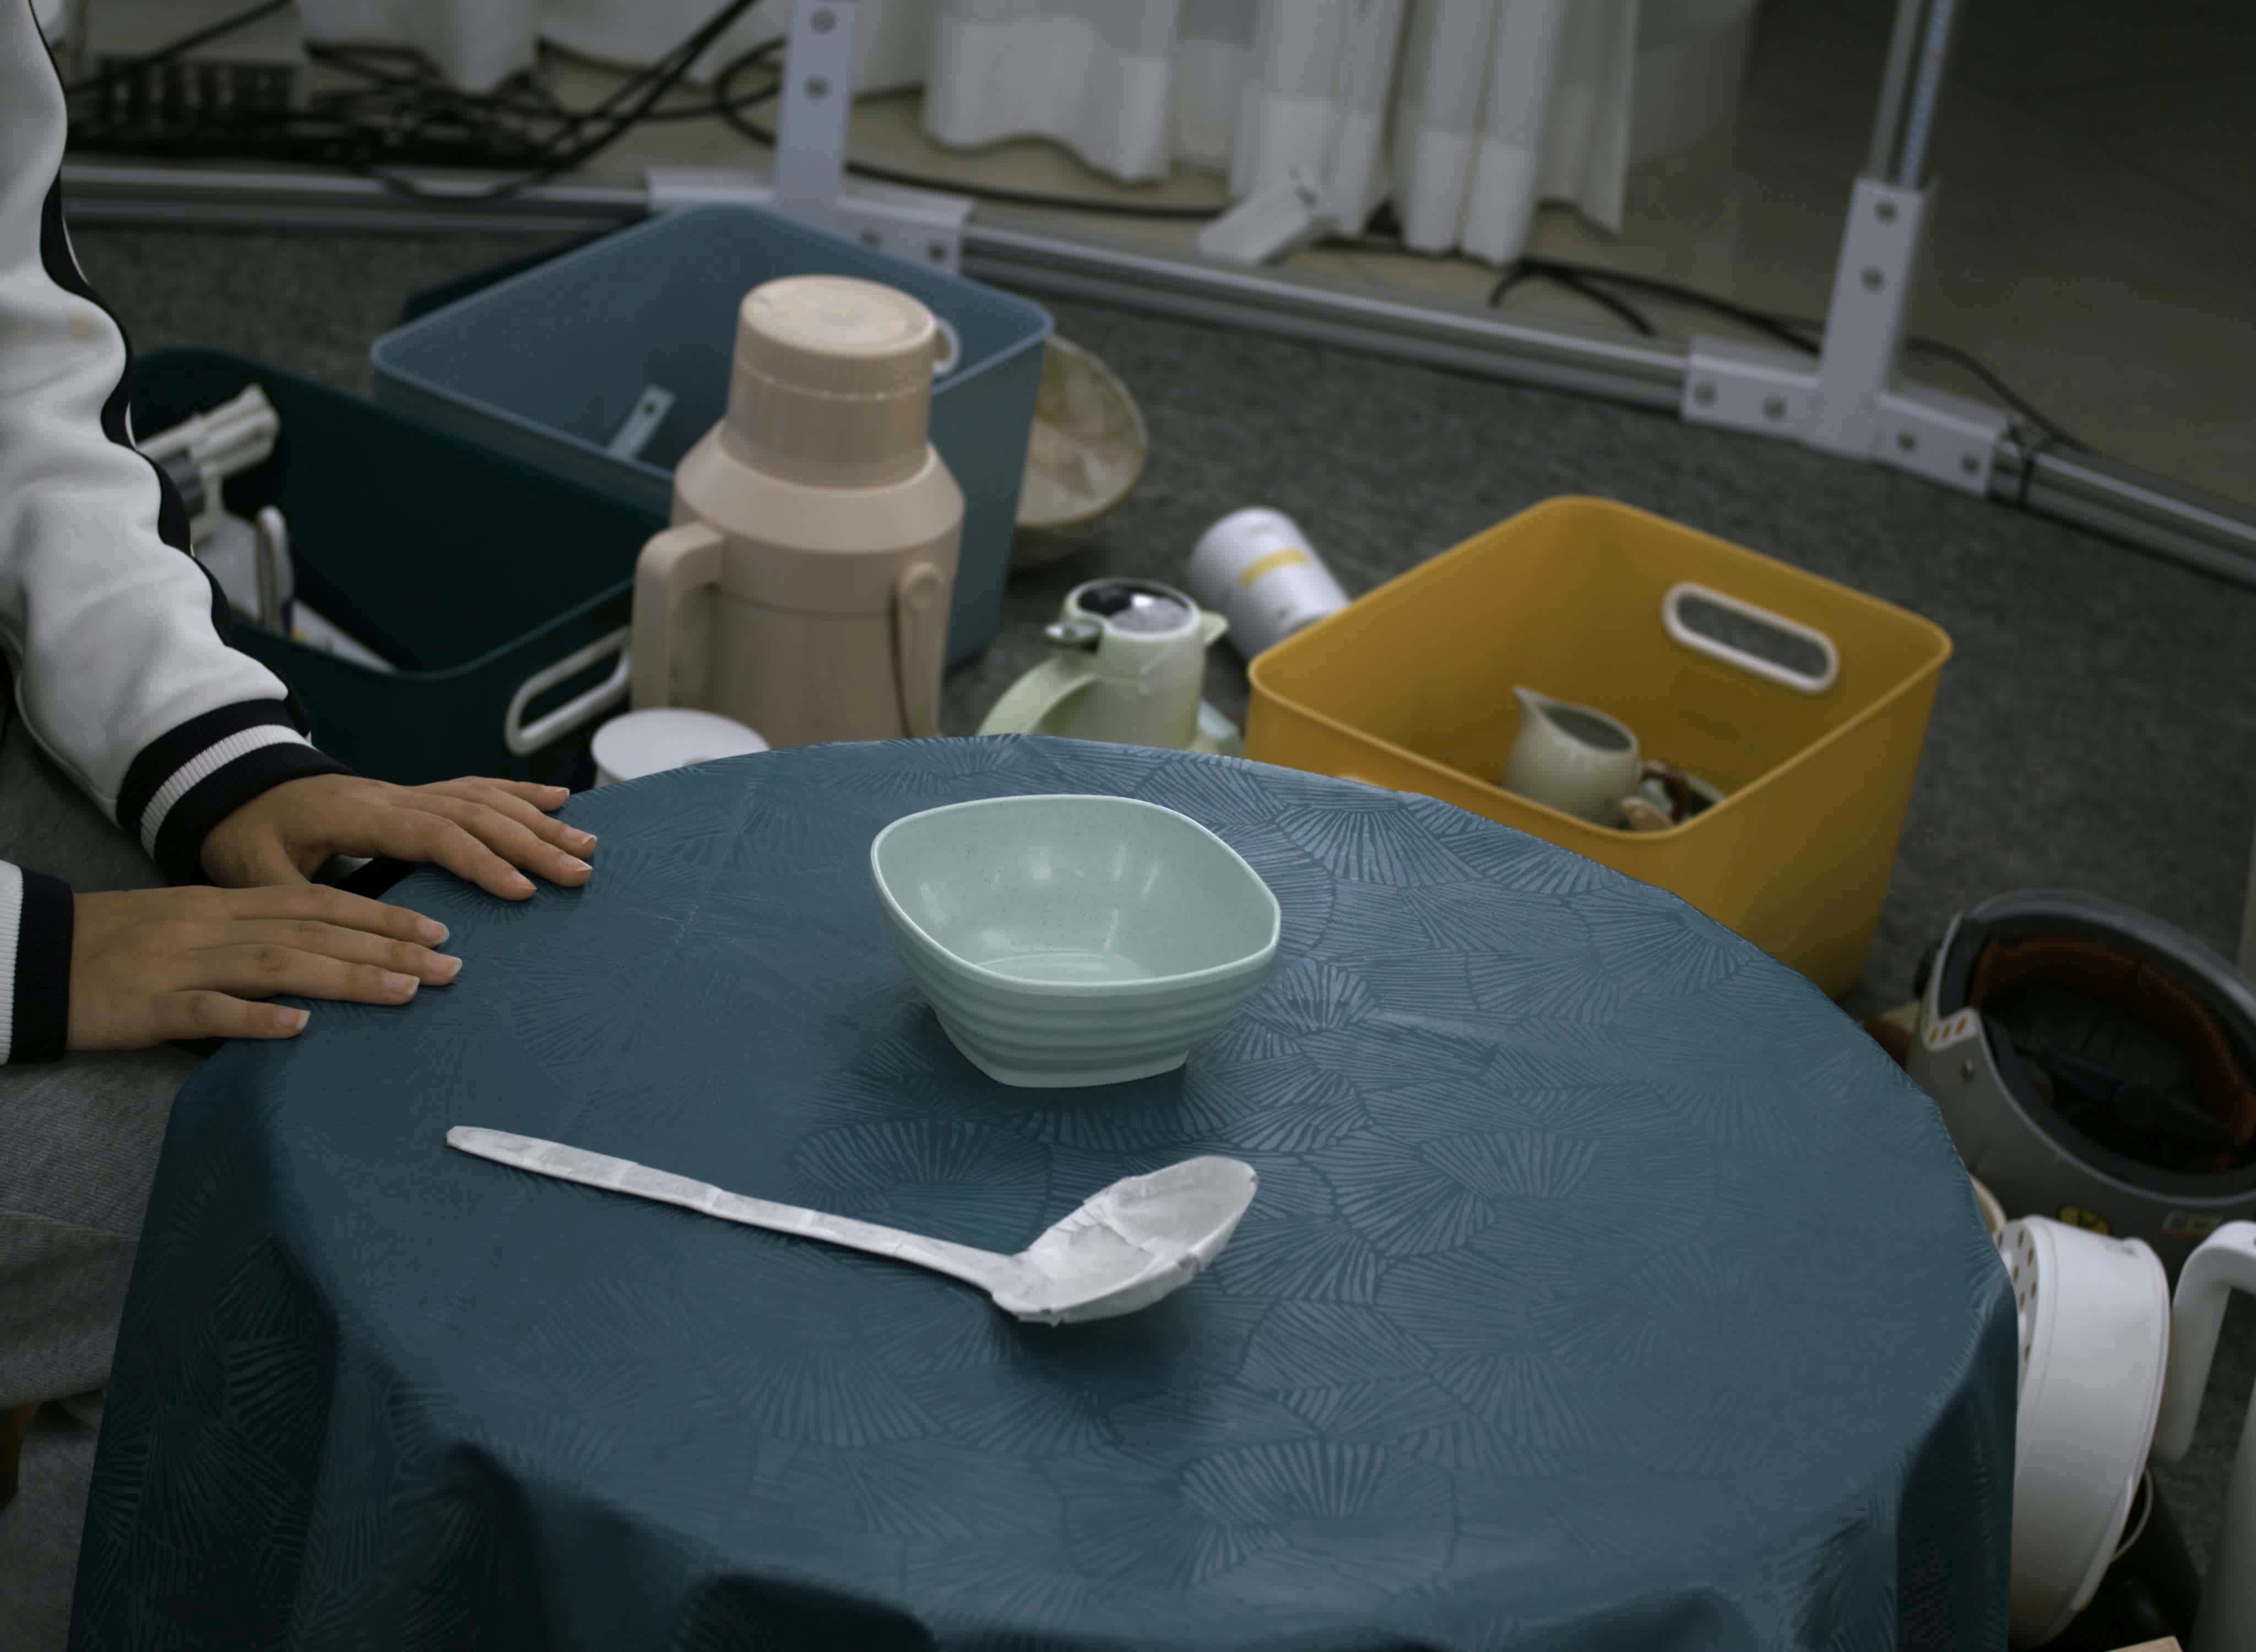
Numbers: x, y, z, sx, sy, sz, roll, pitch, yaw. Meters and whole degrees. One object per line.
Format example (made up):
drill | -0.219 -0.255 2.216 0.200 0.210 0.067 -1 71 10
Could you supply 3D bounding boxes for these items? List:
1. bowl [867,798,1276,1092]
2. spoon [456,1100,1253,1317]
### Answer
bowl | -0.023 0.048 1.886 0.151 0.058 0.152 6 27 -3
spoon | -0.093 0.106 1.752 0.278 0.059 0.100 15 24 16
